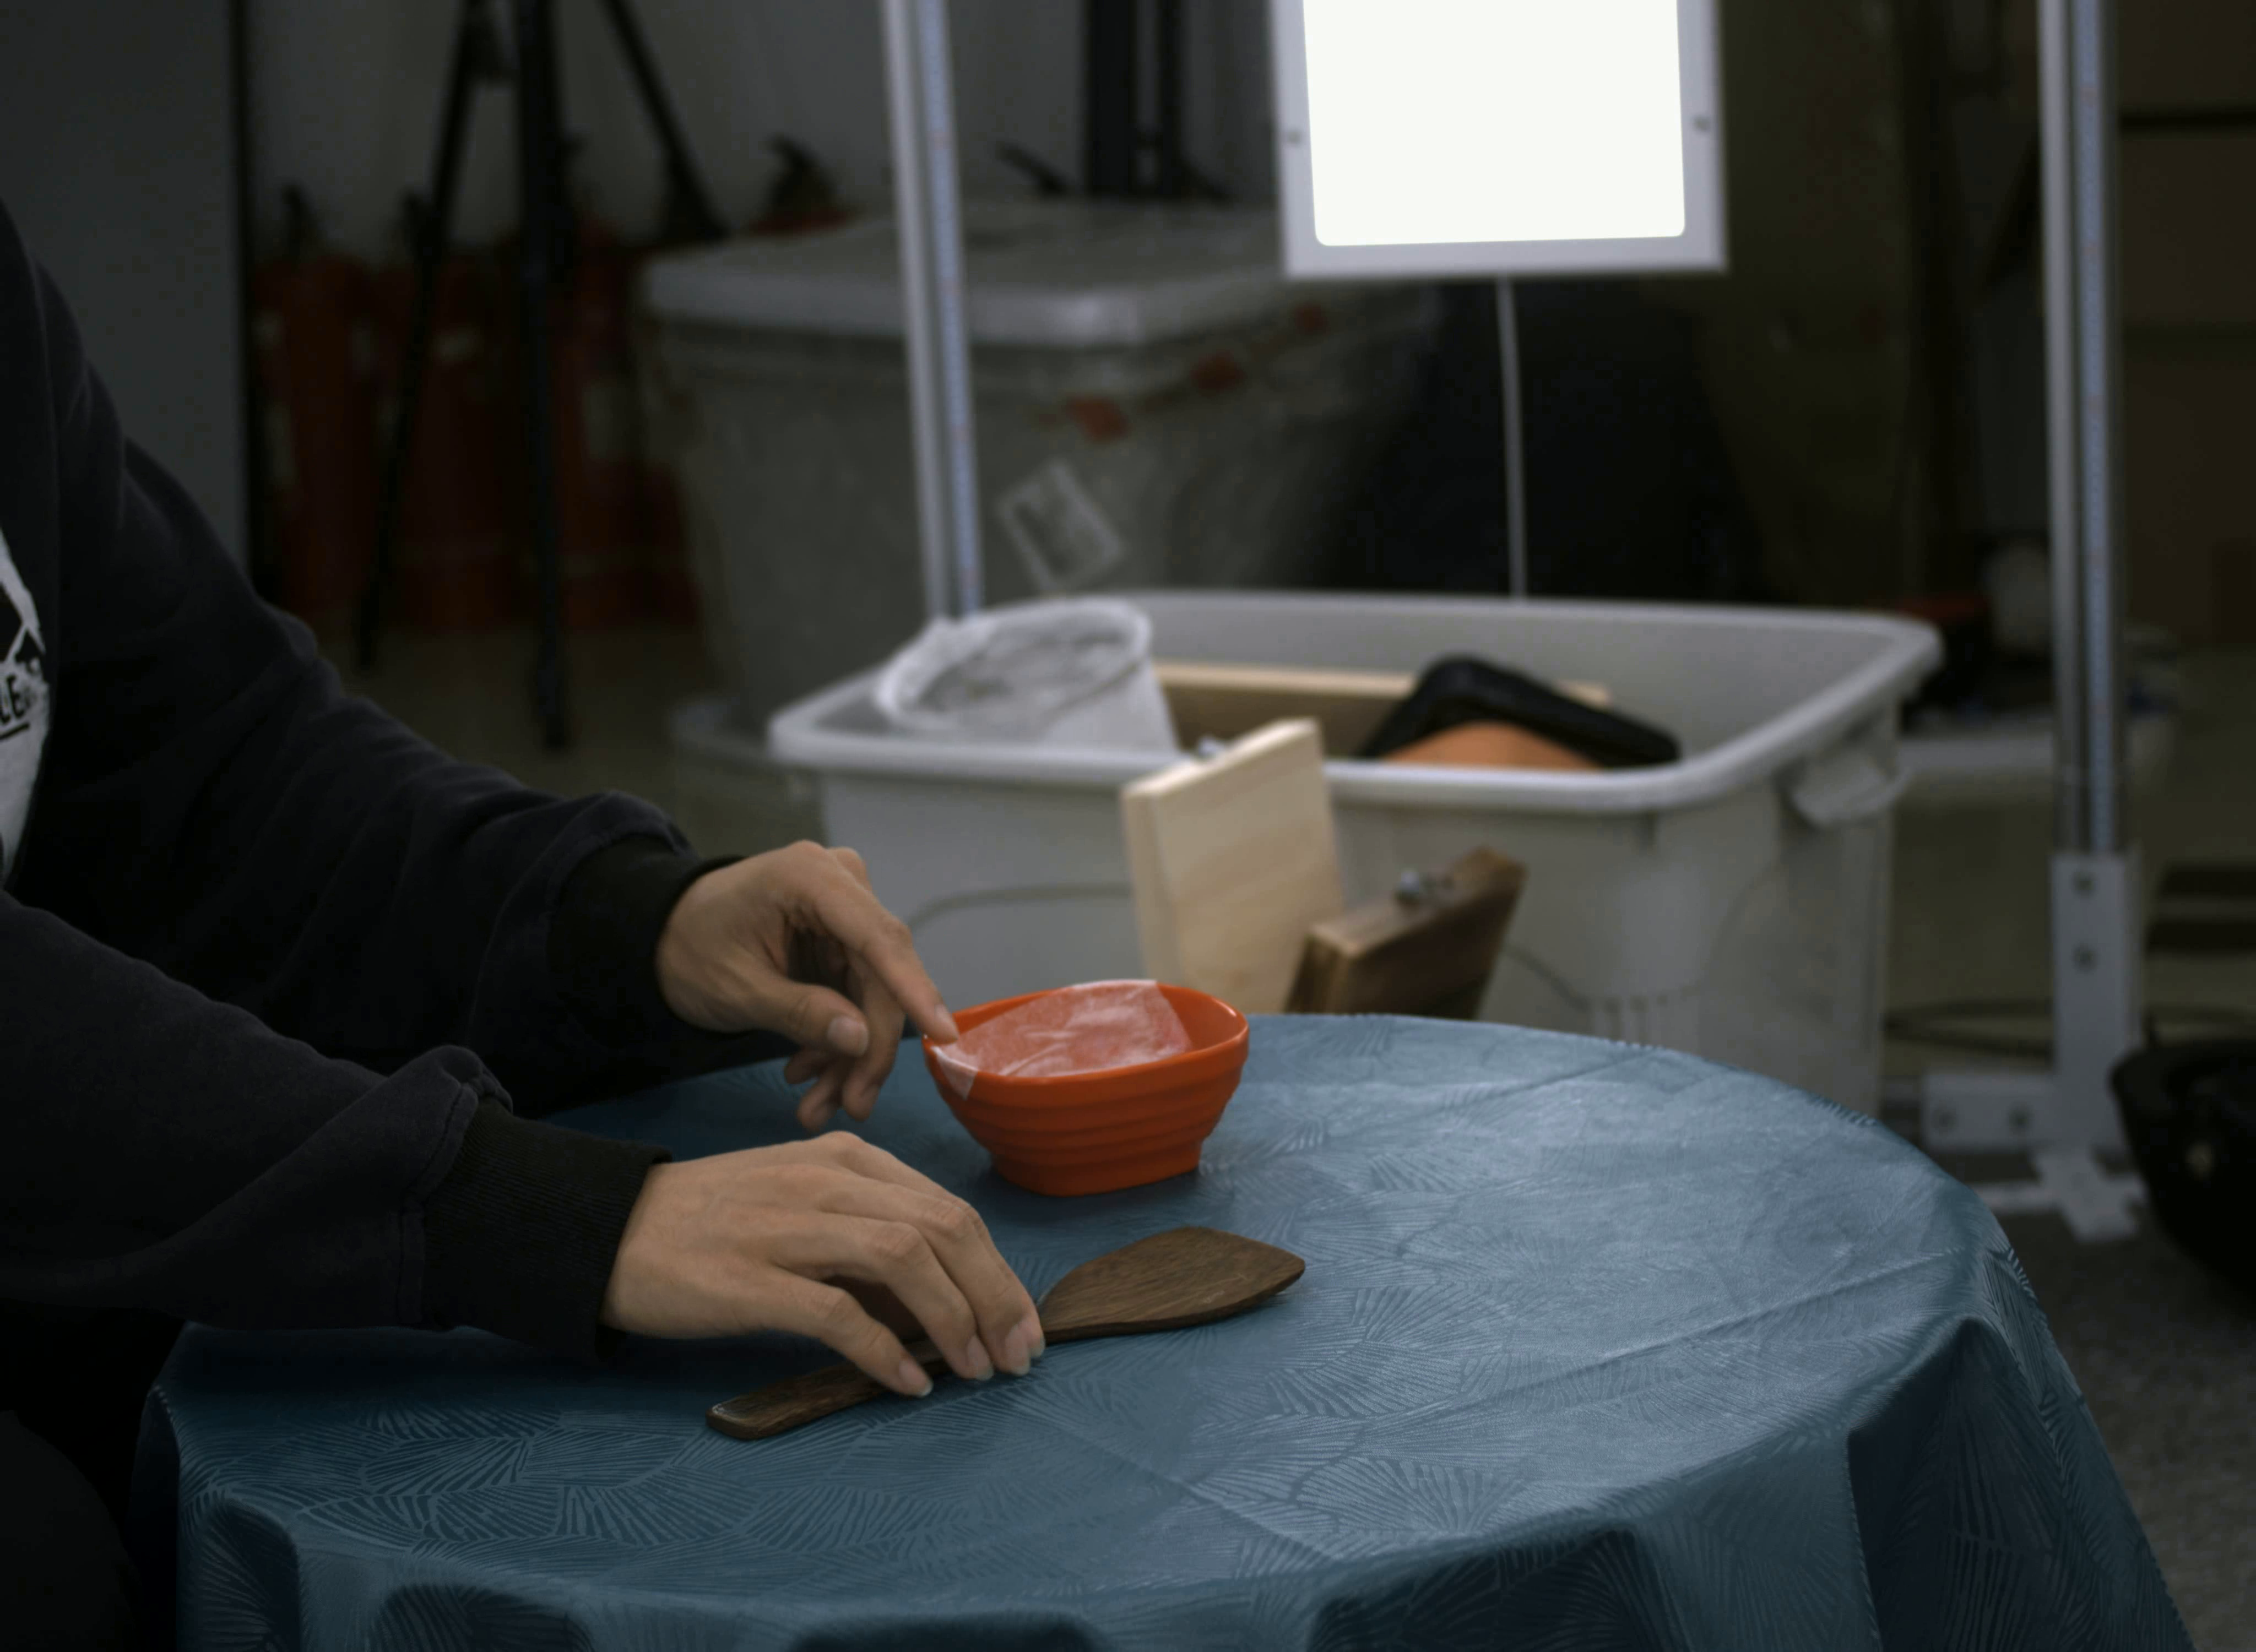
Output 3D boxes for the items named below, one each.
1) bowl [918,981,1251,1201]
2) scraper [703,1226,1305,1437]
[{"bbox_3d":[-0.014,0.095,1.927,0.118,0.051,0.119,-4,15,0],"label":"bowl"},{"bbox_3d":[-0.042,0.162,1.750,0.206,0.011,0.077,-15,16,-33],"label":"scraper"}]
